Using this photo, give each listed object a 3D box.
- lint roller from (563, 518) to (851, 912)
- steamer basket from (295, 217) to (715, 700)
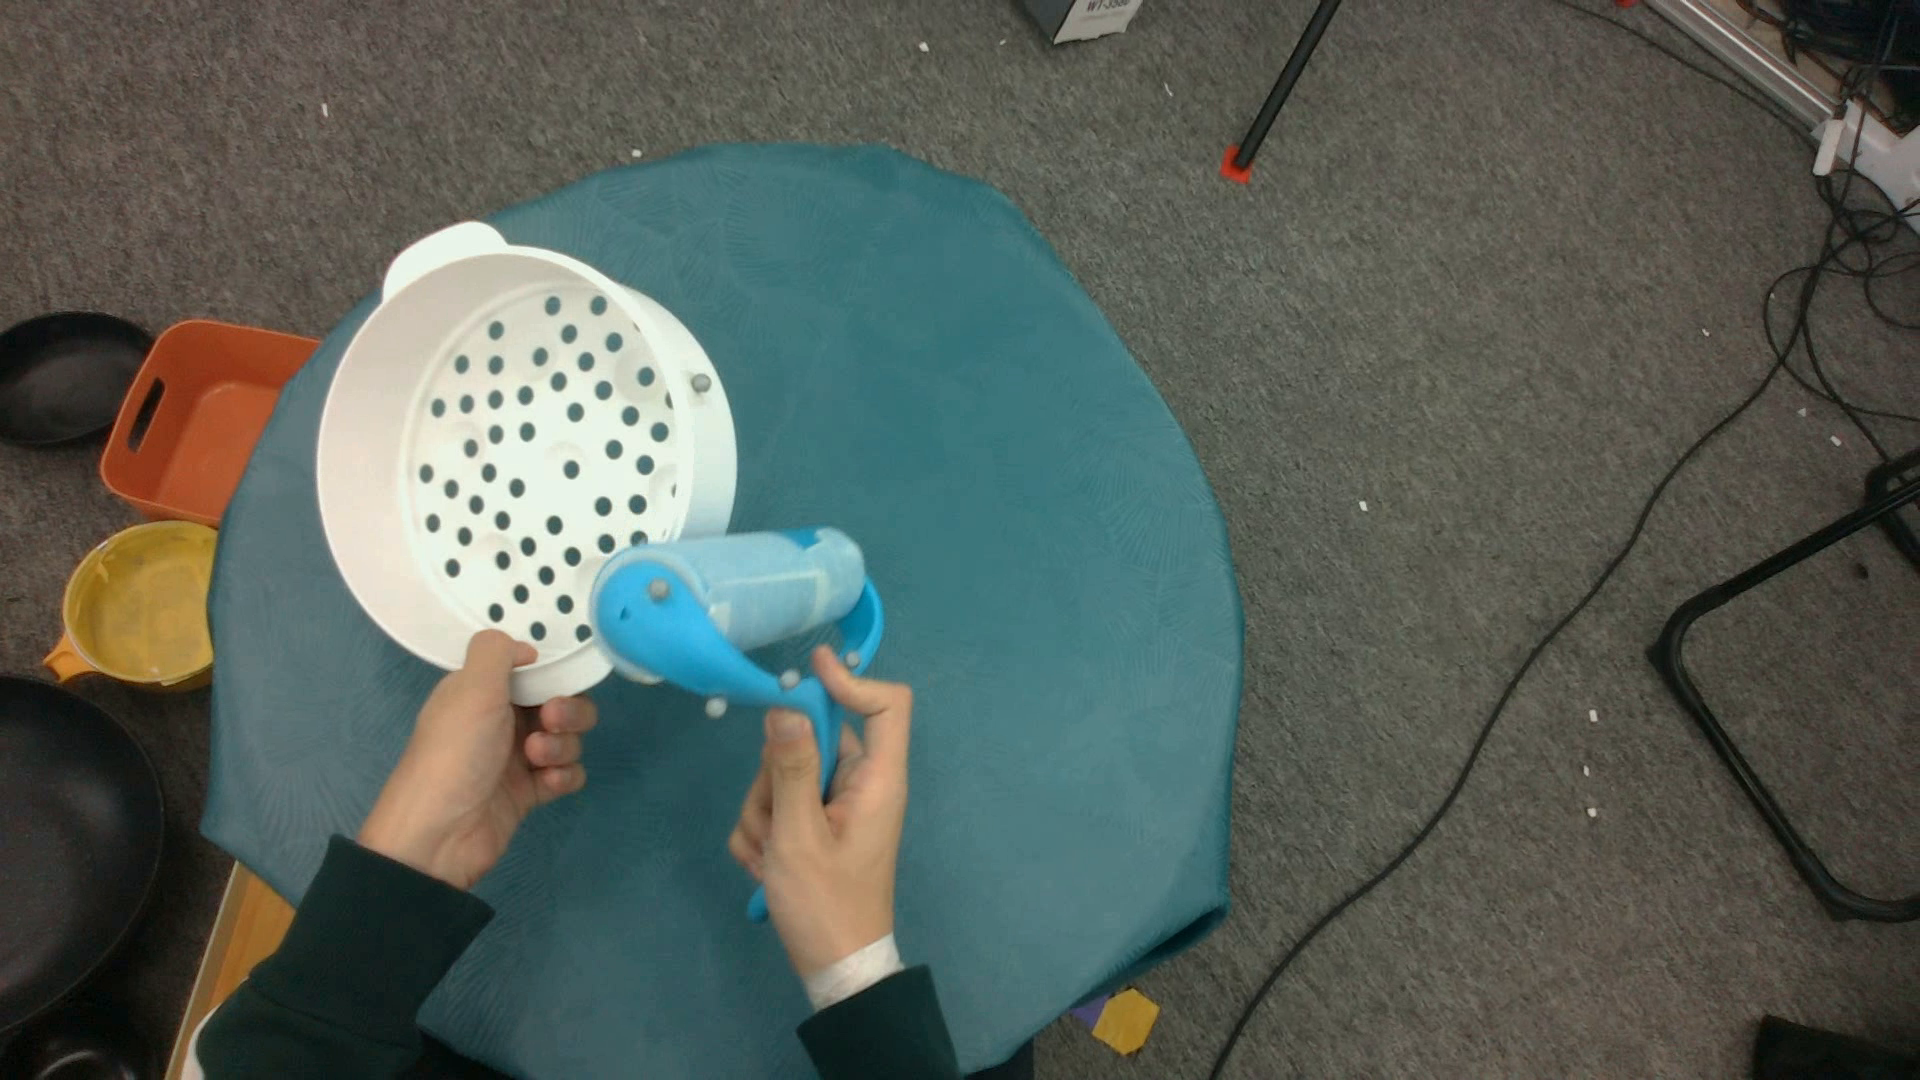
[{"bbox_3d":[-0.098,0.081,0.646,0.068,0.229,0.180,-15,94,12],"label":"lint roller"},{"bbox_3d":[-0.219,-0.040,0.667,0.201,0.069,0.230,-21,85,16],"label":"steamer basket"}]
